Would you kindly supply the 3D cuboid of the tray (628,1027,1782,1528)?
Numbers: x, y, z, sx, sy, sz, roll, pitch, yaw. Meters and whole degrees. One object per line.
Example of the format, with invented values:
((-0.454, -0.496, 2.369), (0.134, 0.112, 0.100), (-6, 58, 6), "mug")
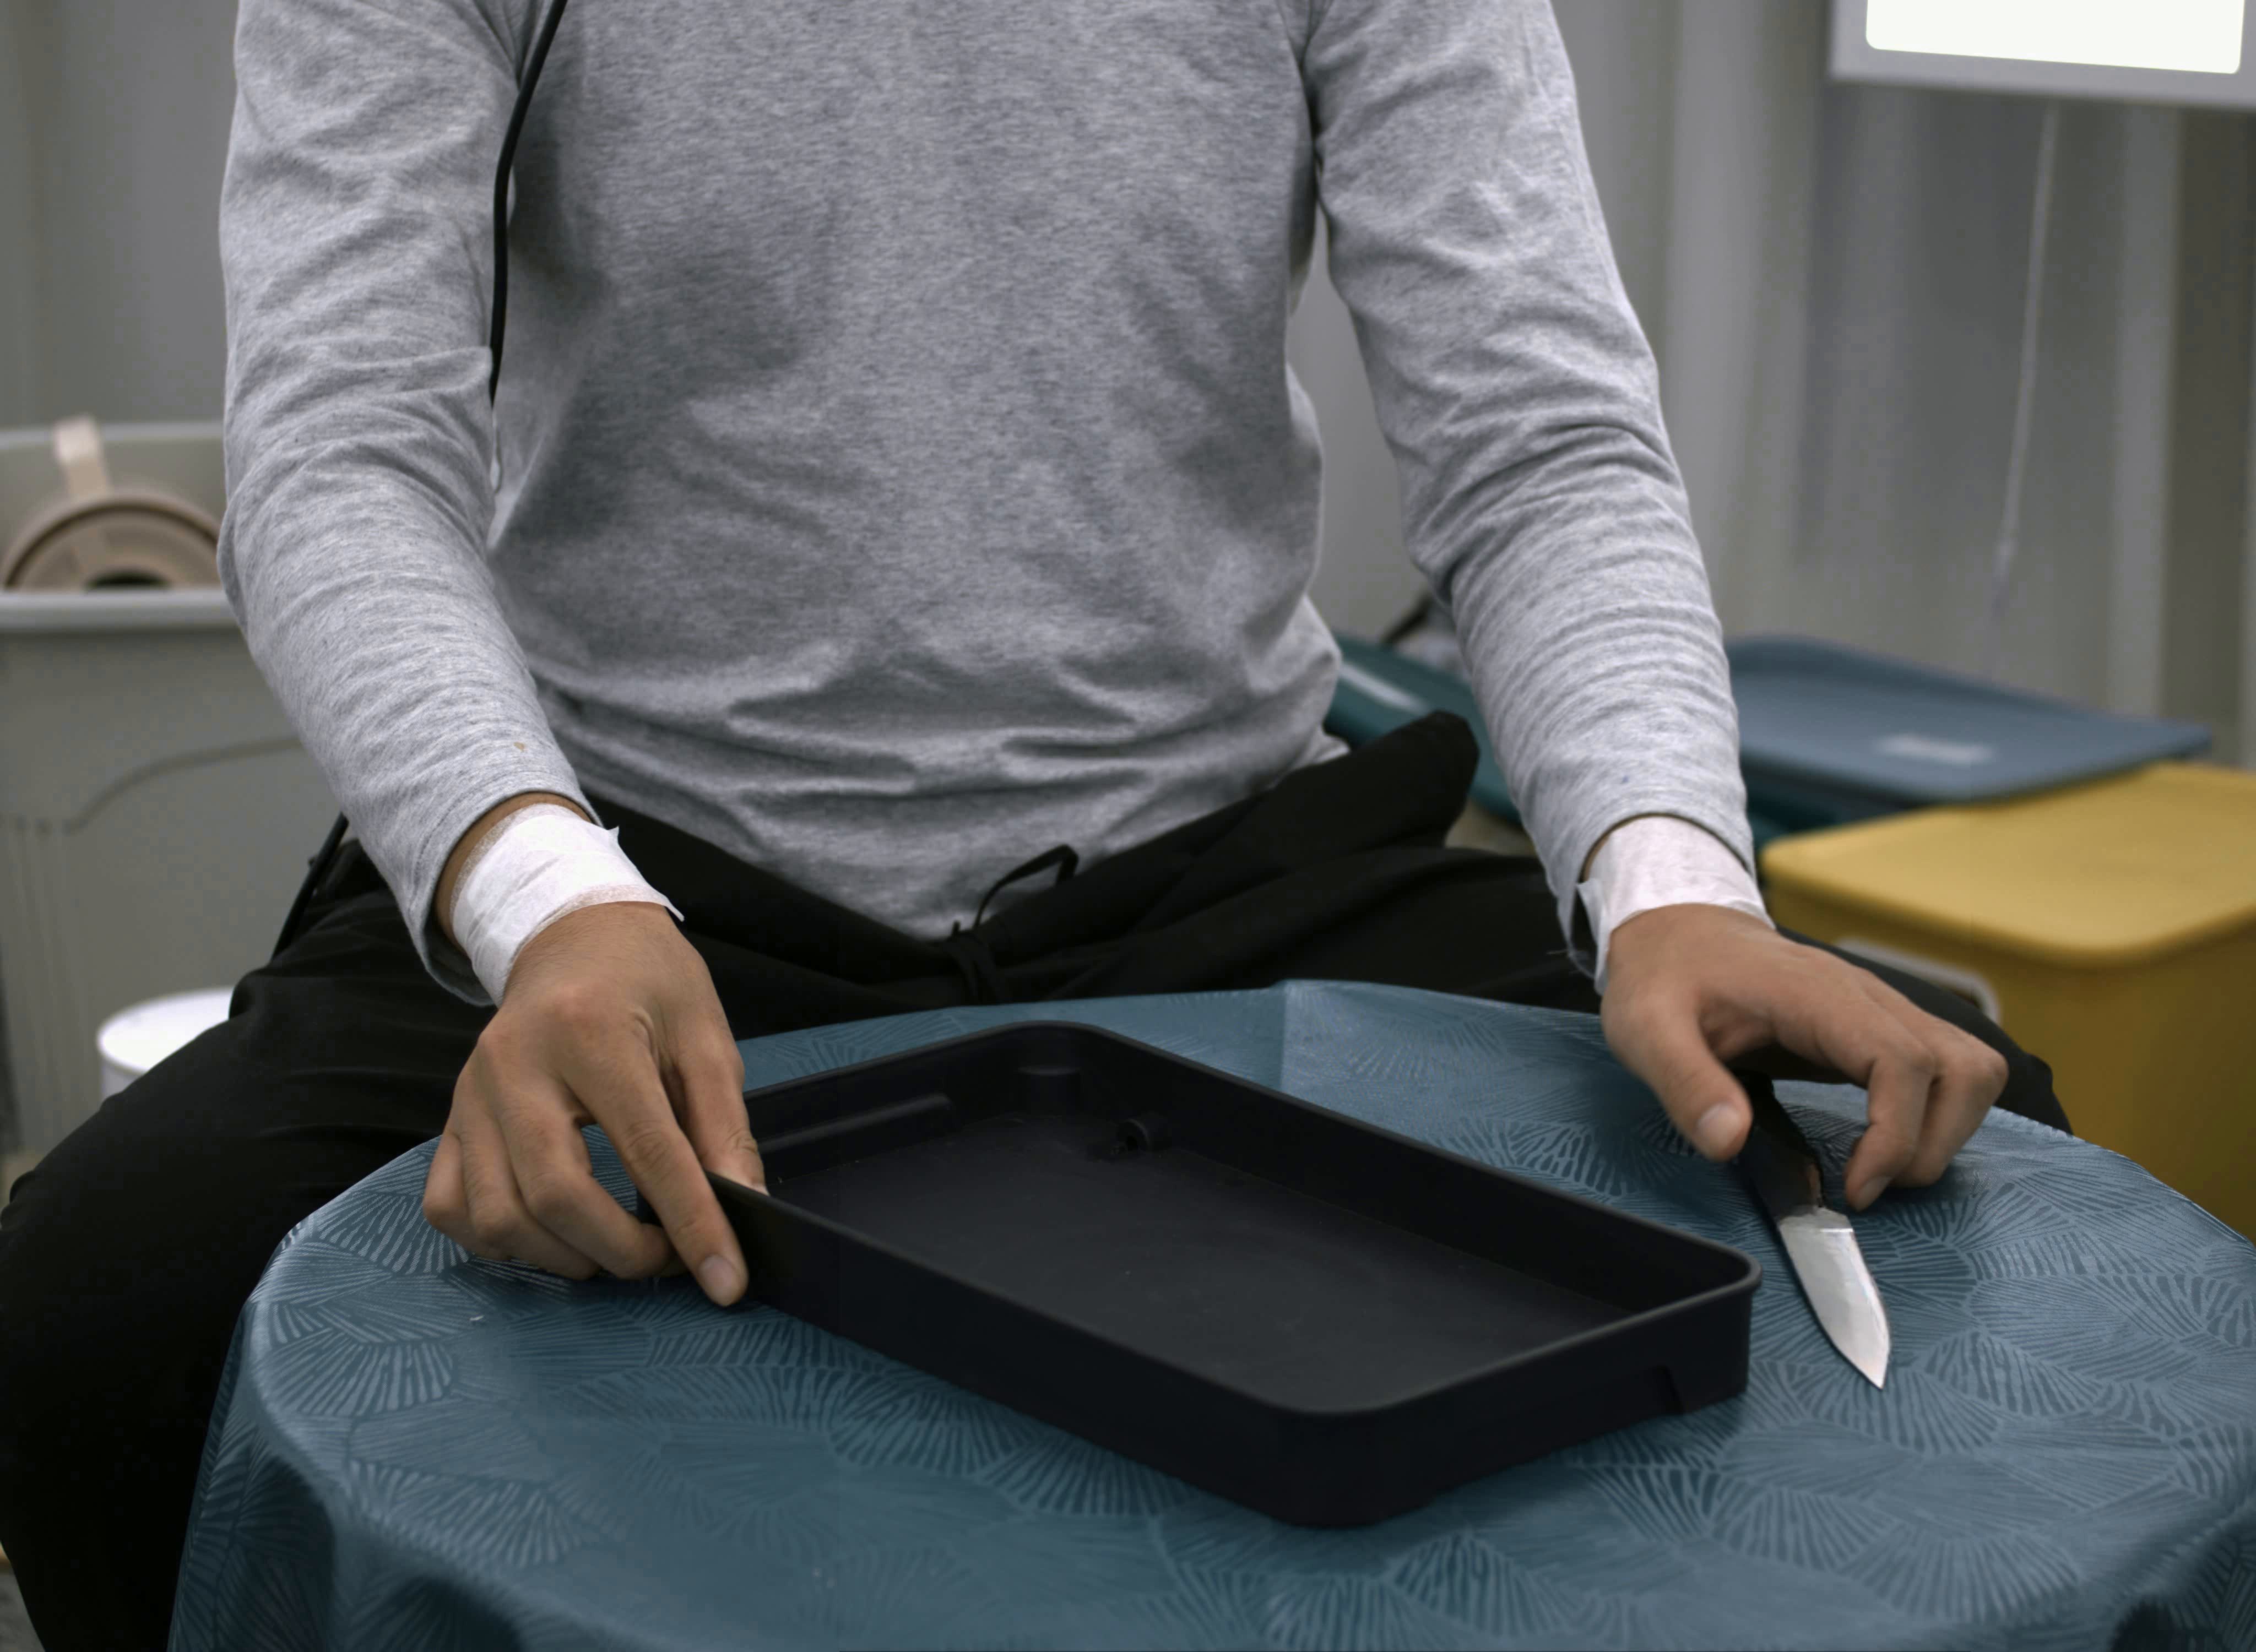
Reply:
((0.017, 0.124, 1.517), (0.185, 0.037, 0.313), (-13, 20, -42), "tray")

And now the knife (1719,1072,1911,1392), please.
((0.204, 0.121, 1.580), (0.024, 0.016, 0.236), (-5, 18, -3), "knife")
